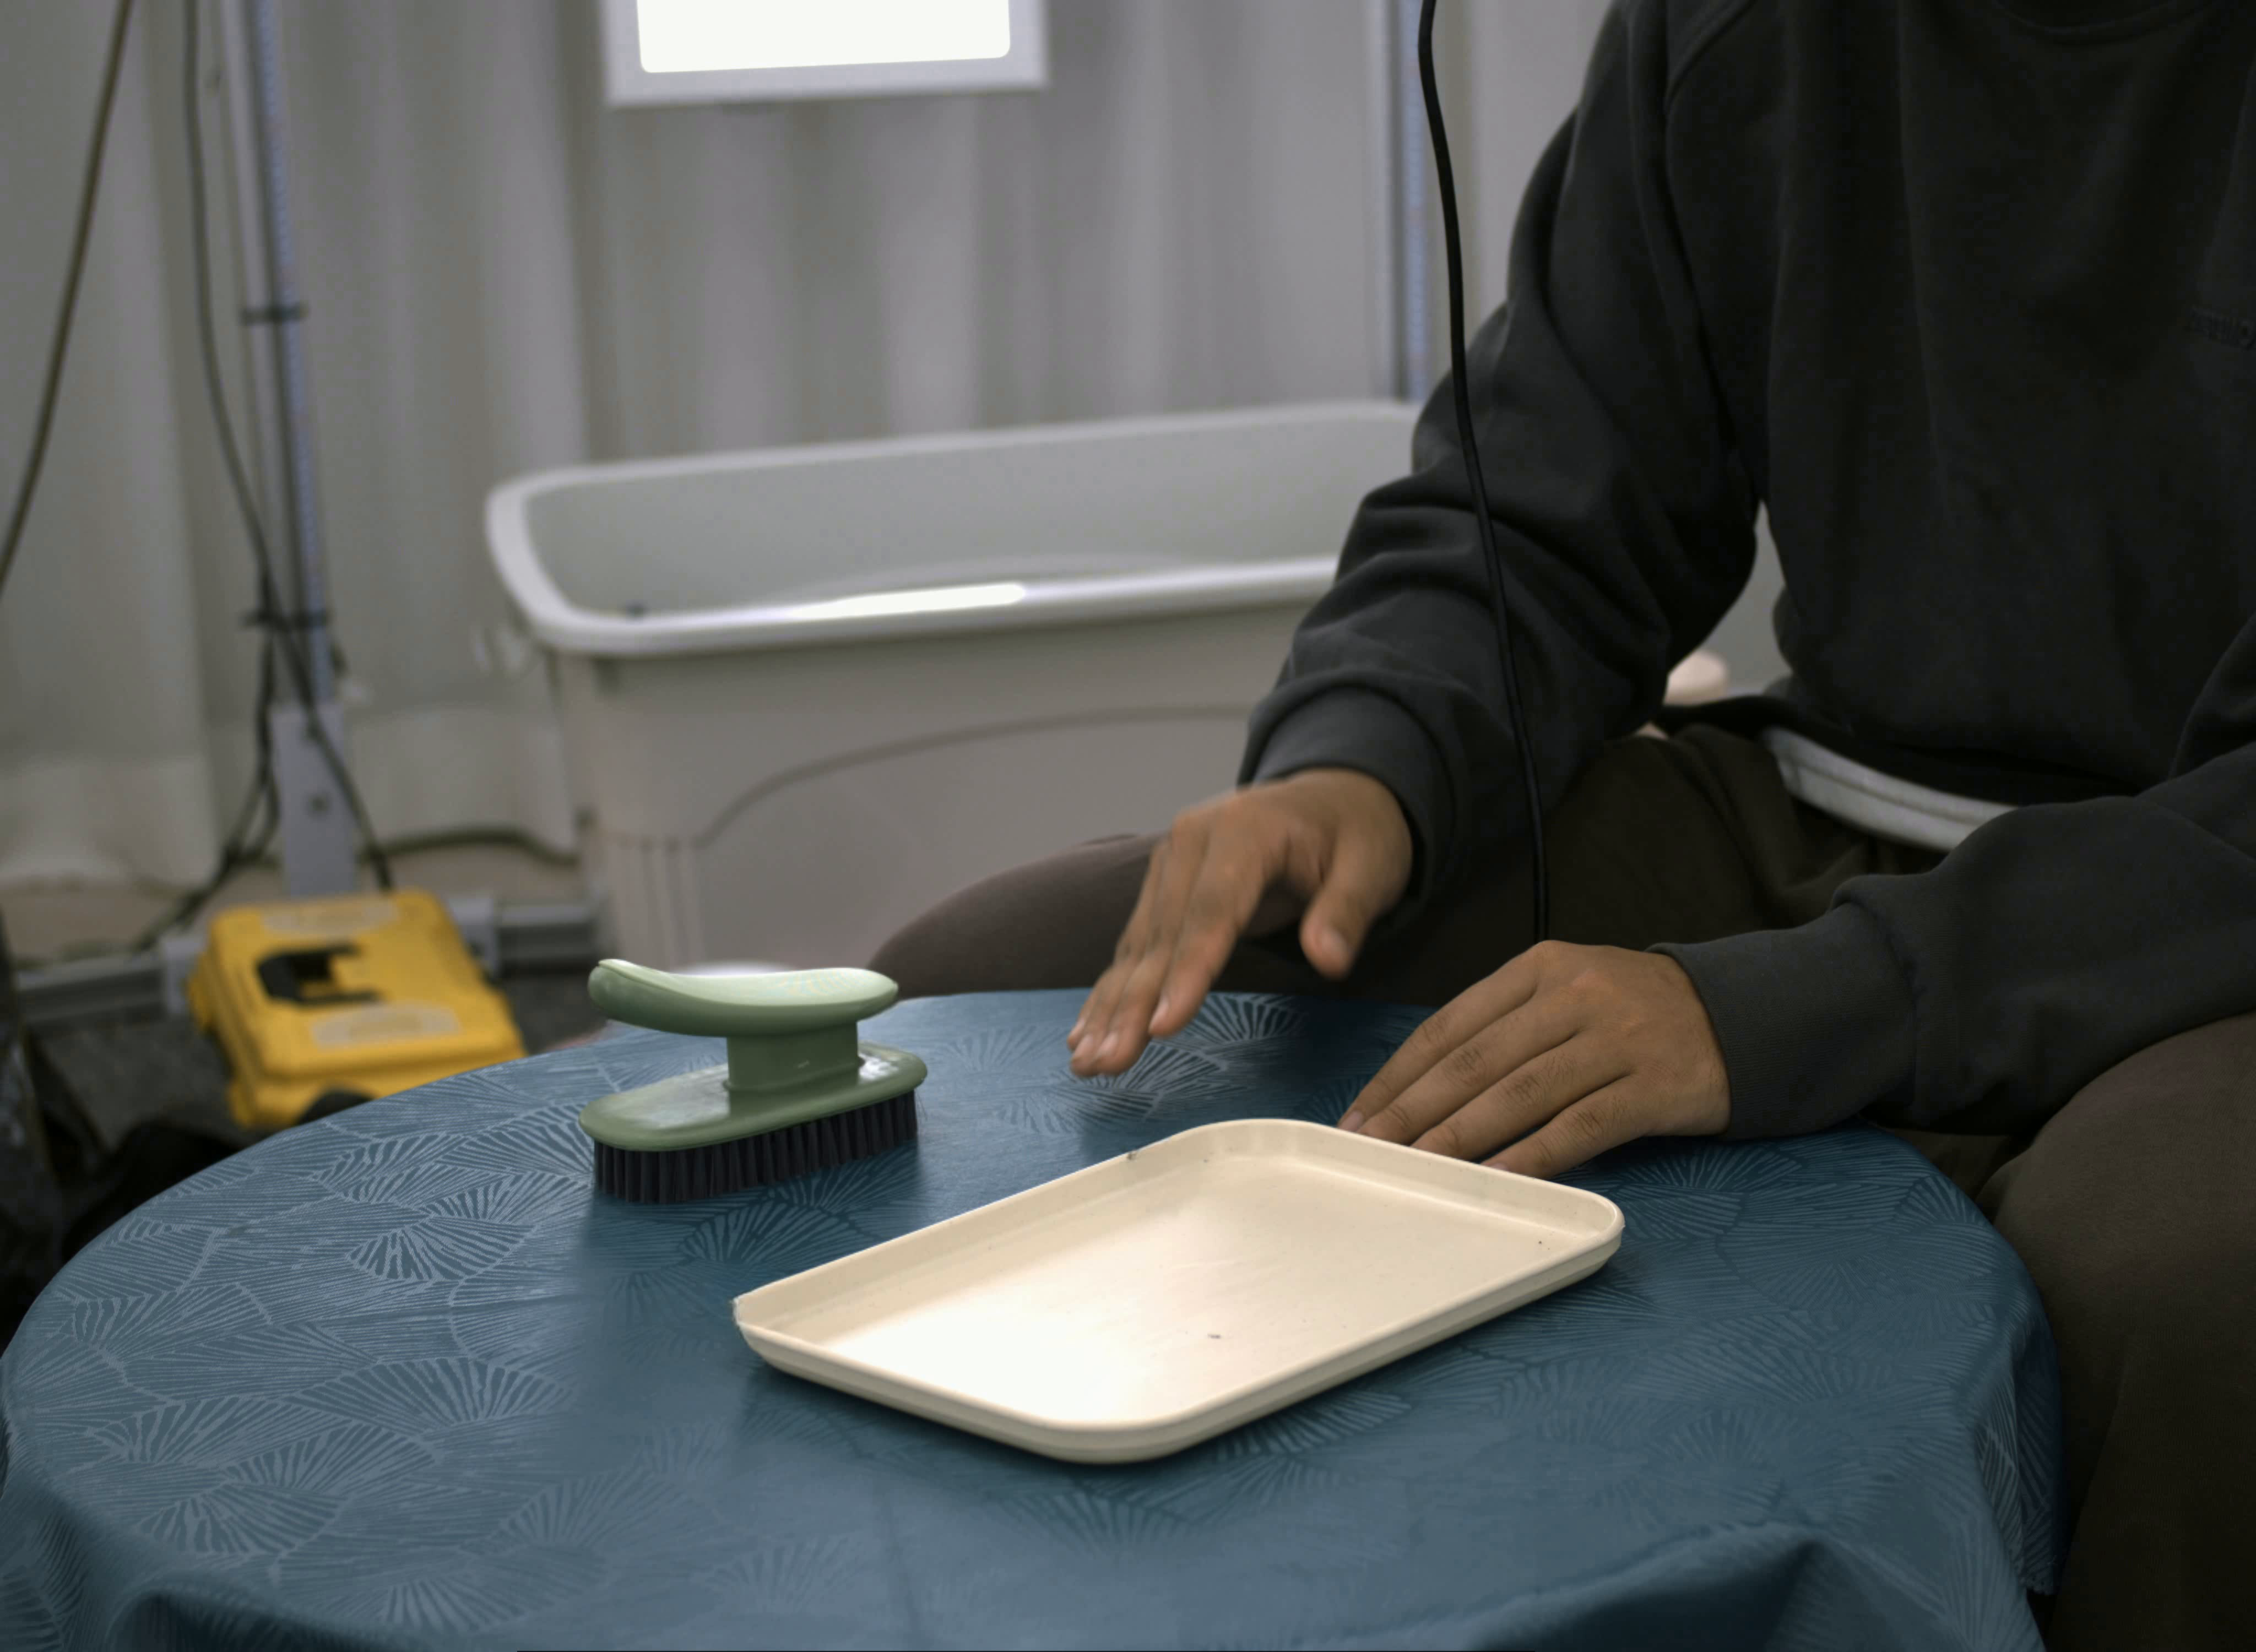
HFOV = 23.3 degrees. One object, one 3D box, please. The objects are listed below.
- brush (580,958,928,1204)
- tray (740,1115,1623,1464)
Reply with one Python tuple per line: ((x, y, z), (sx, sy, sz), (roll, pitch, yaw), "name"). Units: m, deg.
((-0.121, 0.082, 1.758), (0.122, 0.076, 0.060), (3, 9, -38), "brush")
((0.018, 0.135, 1.604), (0.172, 0.017, 0.239), (12, 21, 43), "tray")
